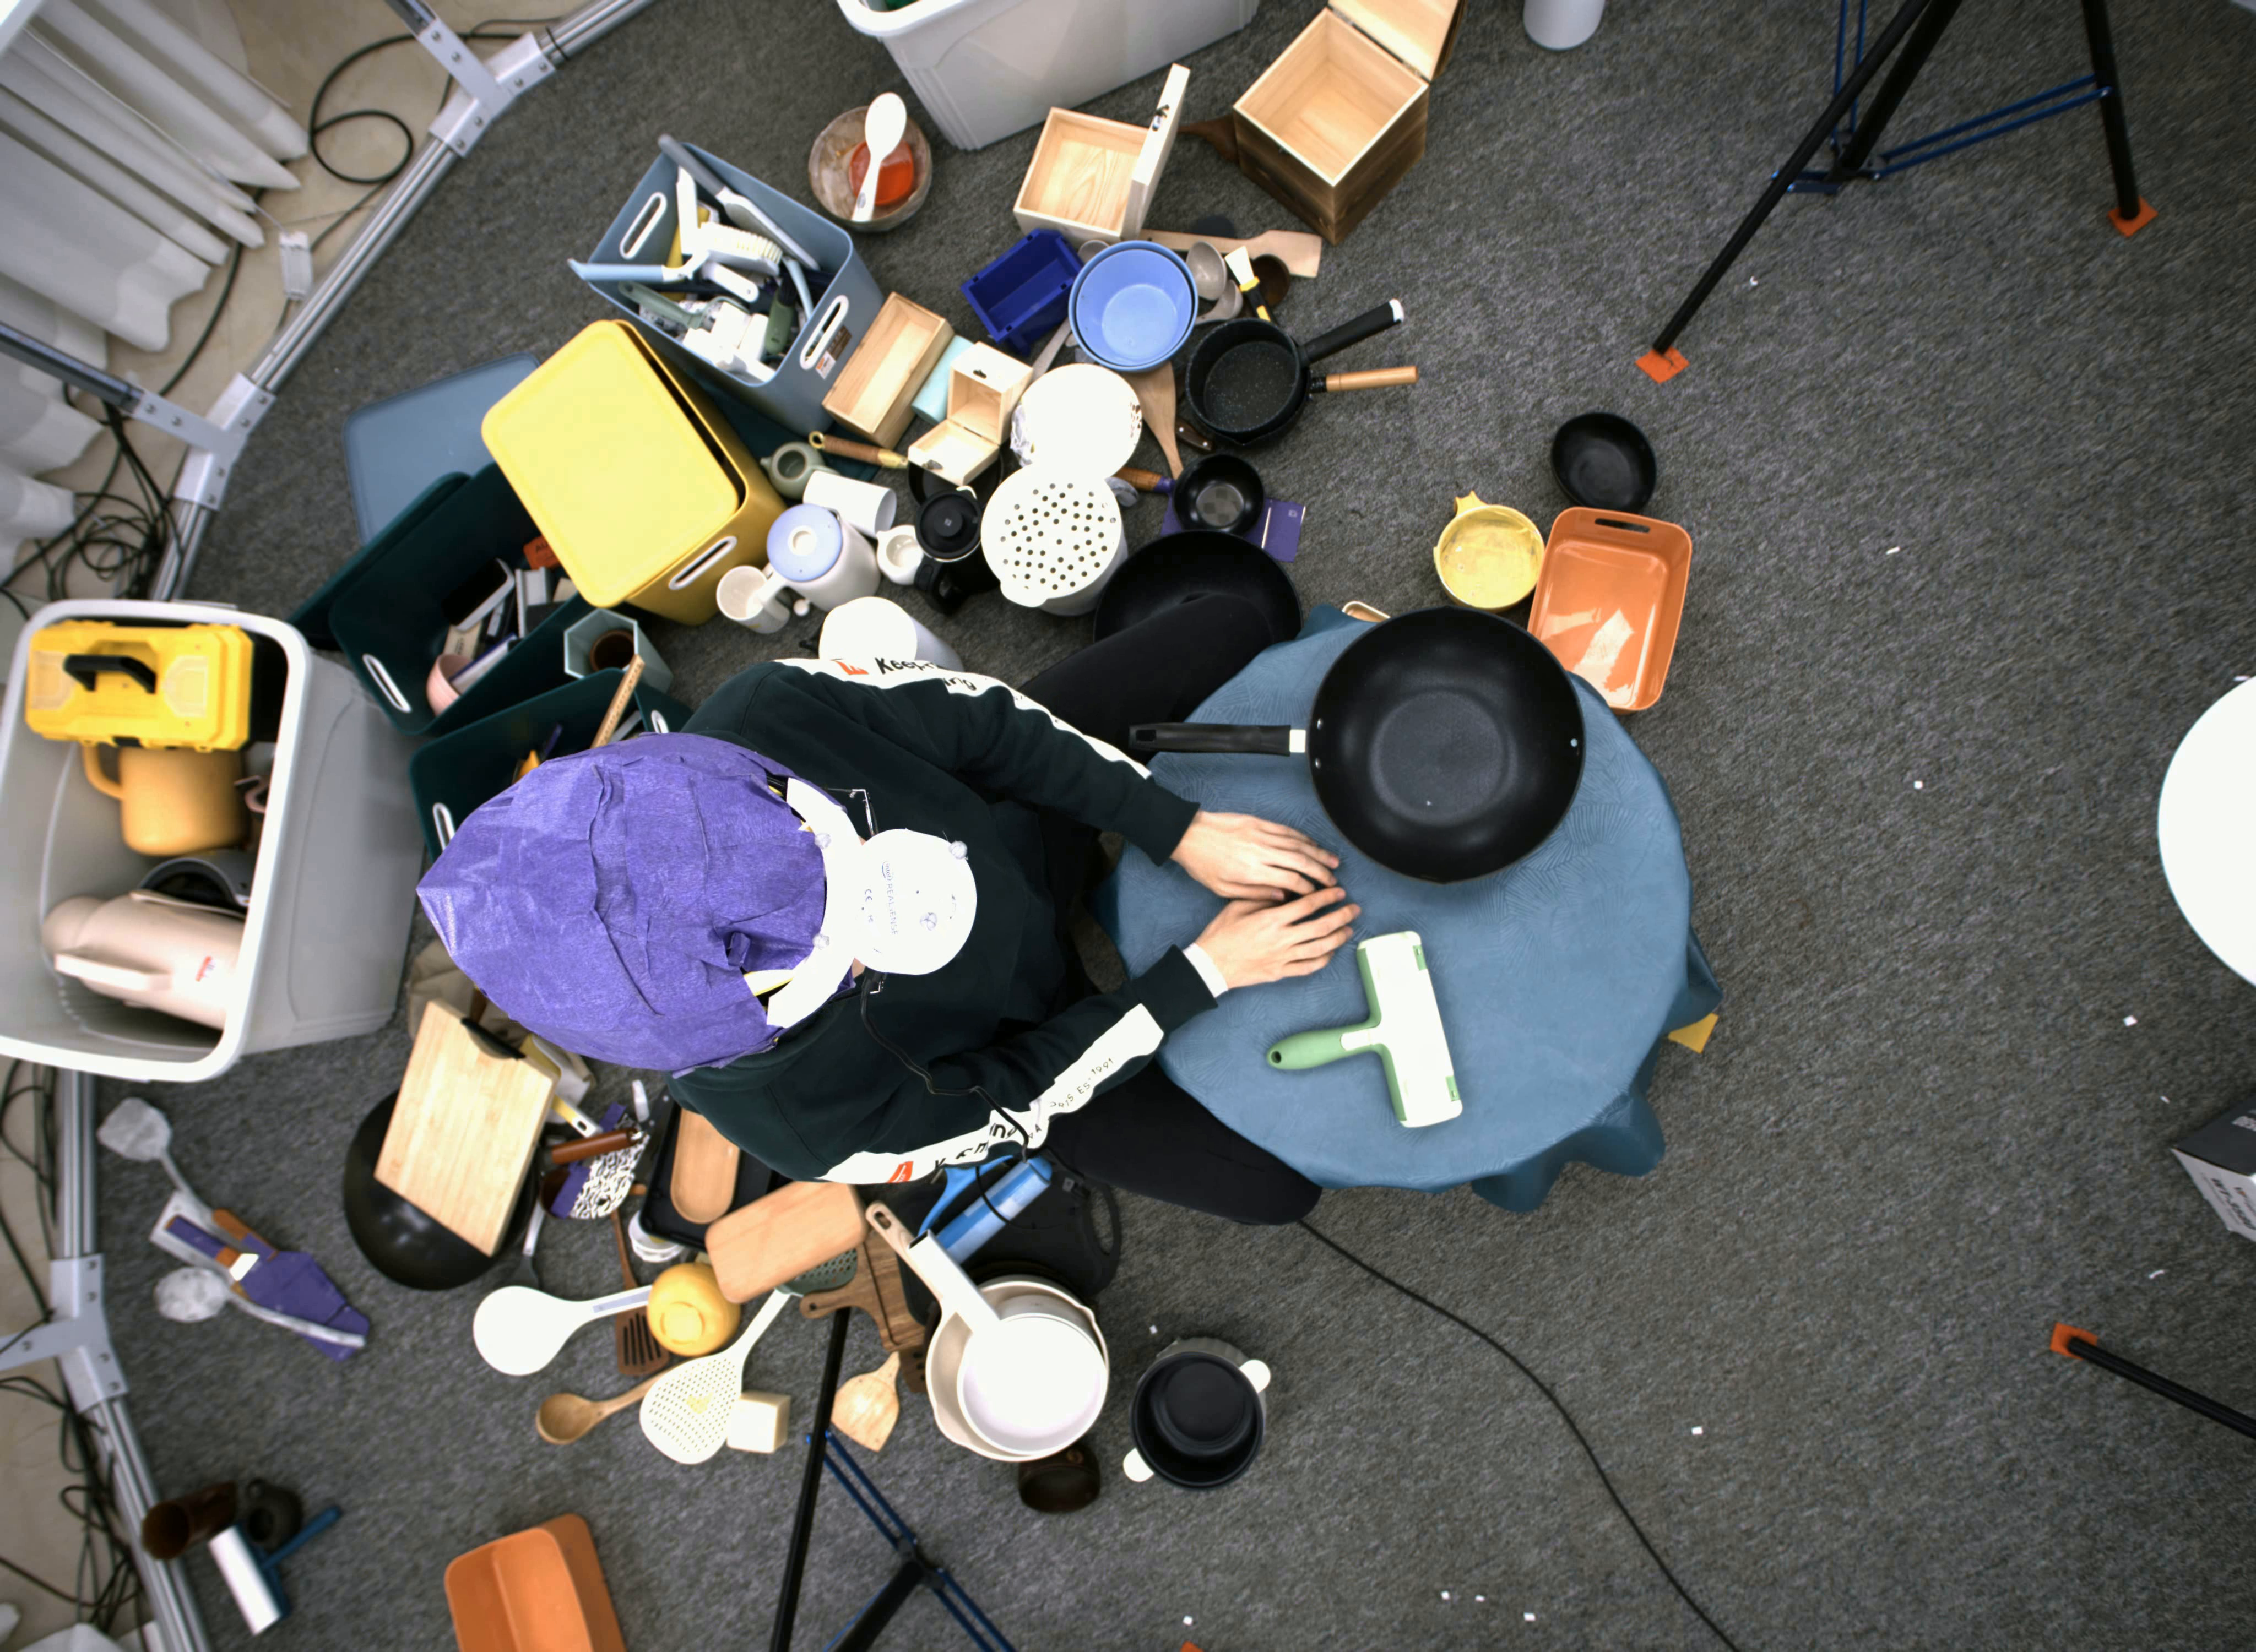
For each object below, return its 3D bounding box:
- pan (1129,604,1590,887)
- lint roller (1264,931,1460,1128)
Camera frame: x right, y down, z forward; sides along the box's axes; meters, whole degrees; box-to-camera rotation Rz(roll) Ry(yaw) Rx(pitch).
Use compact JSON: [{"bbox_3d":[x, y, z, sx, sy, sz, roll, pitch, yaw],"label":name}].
[{"bbox_3d":[0.235,-0.082,1.428,0.465,0.087,0.287,1,87,12],"label":"pan"},{"bbox_3d":[0.229,0.219,1.417,0.184,0.082,0.197,-13,85,4],"label":"lint roller"}]
